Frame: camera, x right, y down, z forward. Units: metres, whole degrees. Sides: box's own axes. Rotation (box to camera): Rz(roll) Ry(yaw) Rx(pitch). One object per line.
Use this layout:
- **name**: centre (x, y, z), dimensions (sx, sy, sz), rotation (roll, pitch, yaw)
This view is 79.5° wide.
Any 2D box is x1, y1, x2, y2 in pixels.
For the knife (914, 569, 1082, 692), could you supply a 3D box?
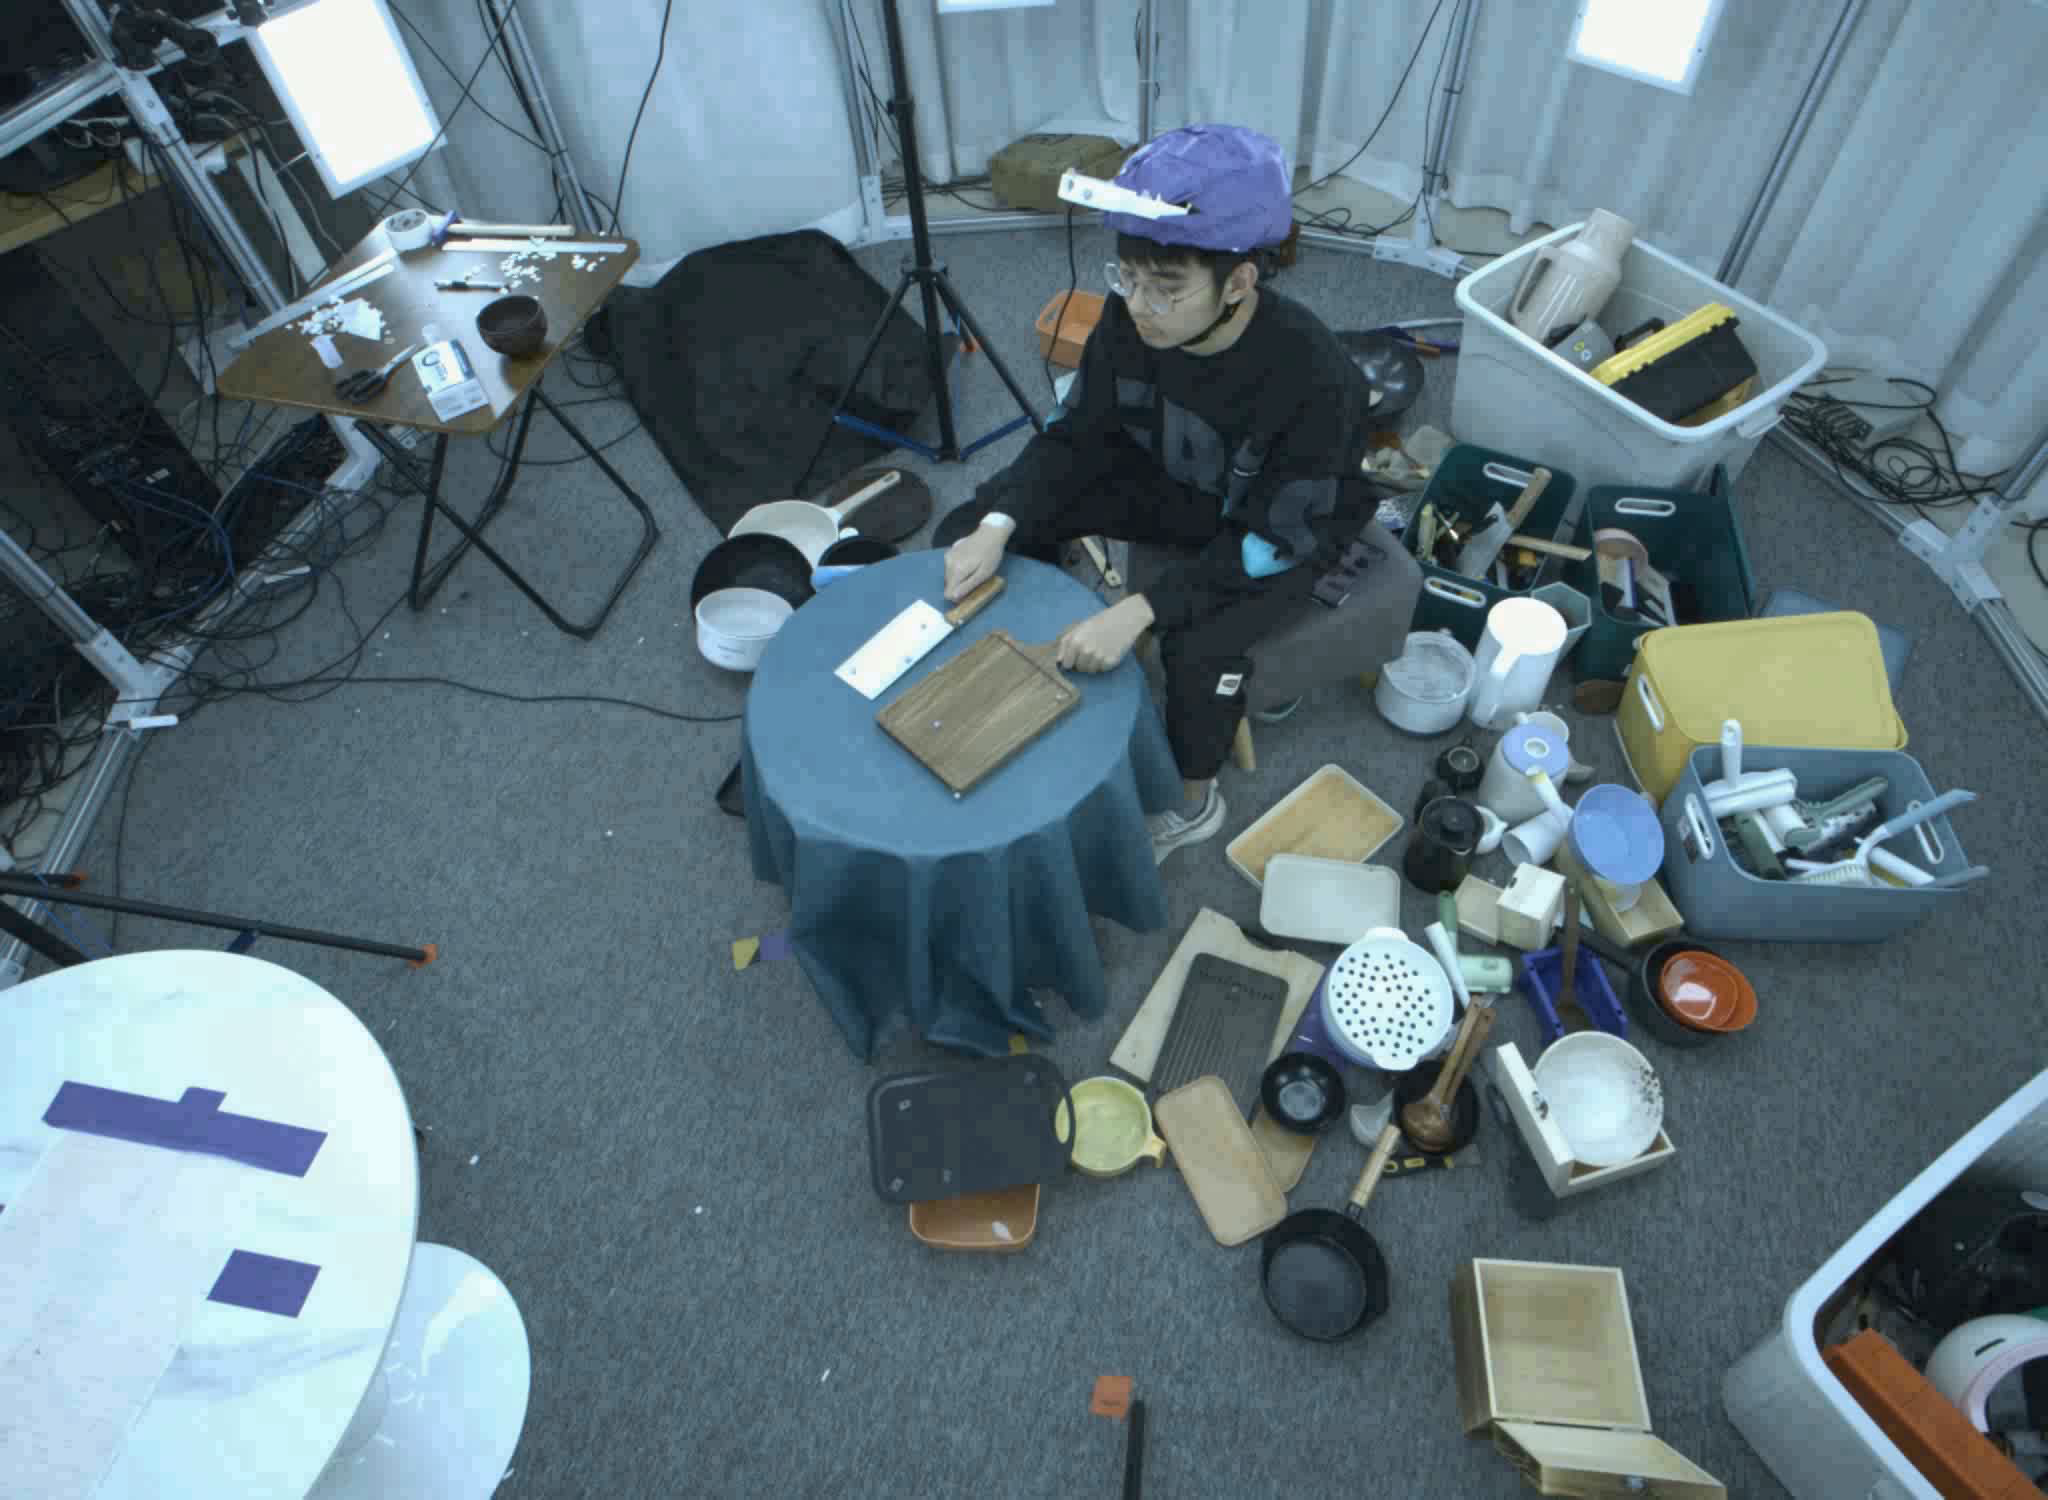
- **knife**: centre (-0.044, -0.201, 1.921), dimensions (0.307, 0.021, 0.091), rotation (-40, 61, -20)

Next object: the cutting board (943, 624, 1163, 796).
- **cutting board**: centre (0.073, -0.088, 1.834), dimensions (0.355, 0.023, 0.197), rotation (-35, 60, -21)
